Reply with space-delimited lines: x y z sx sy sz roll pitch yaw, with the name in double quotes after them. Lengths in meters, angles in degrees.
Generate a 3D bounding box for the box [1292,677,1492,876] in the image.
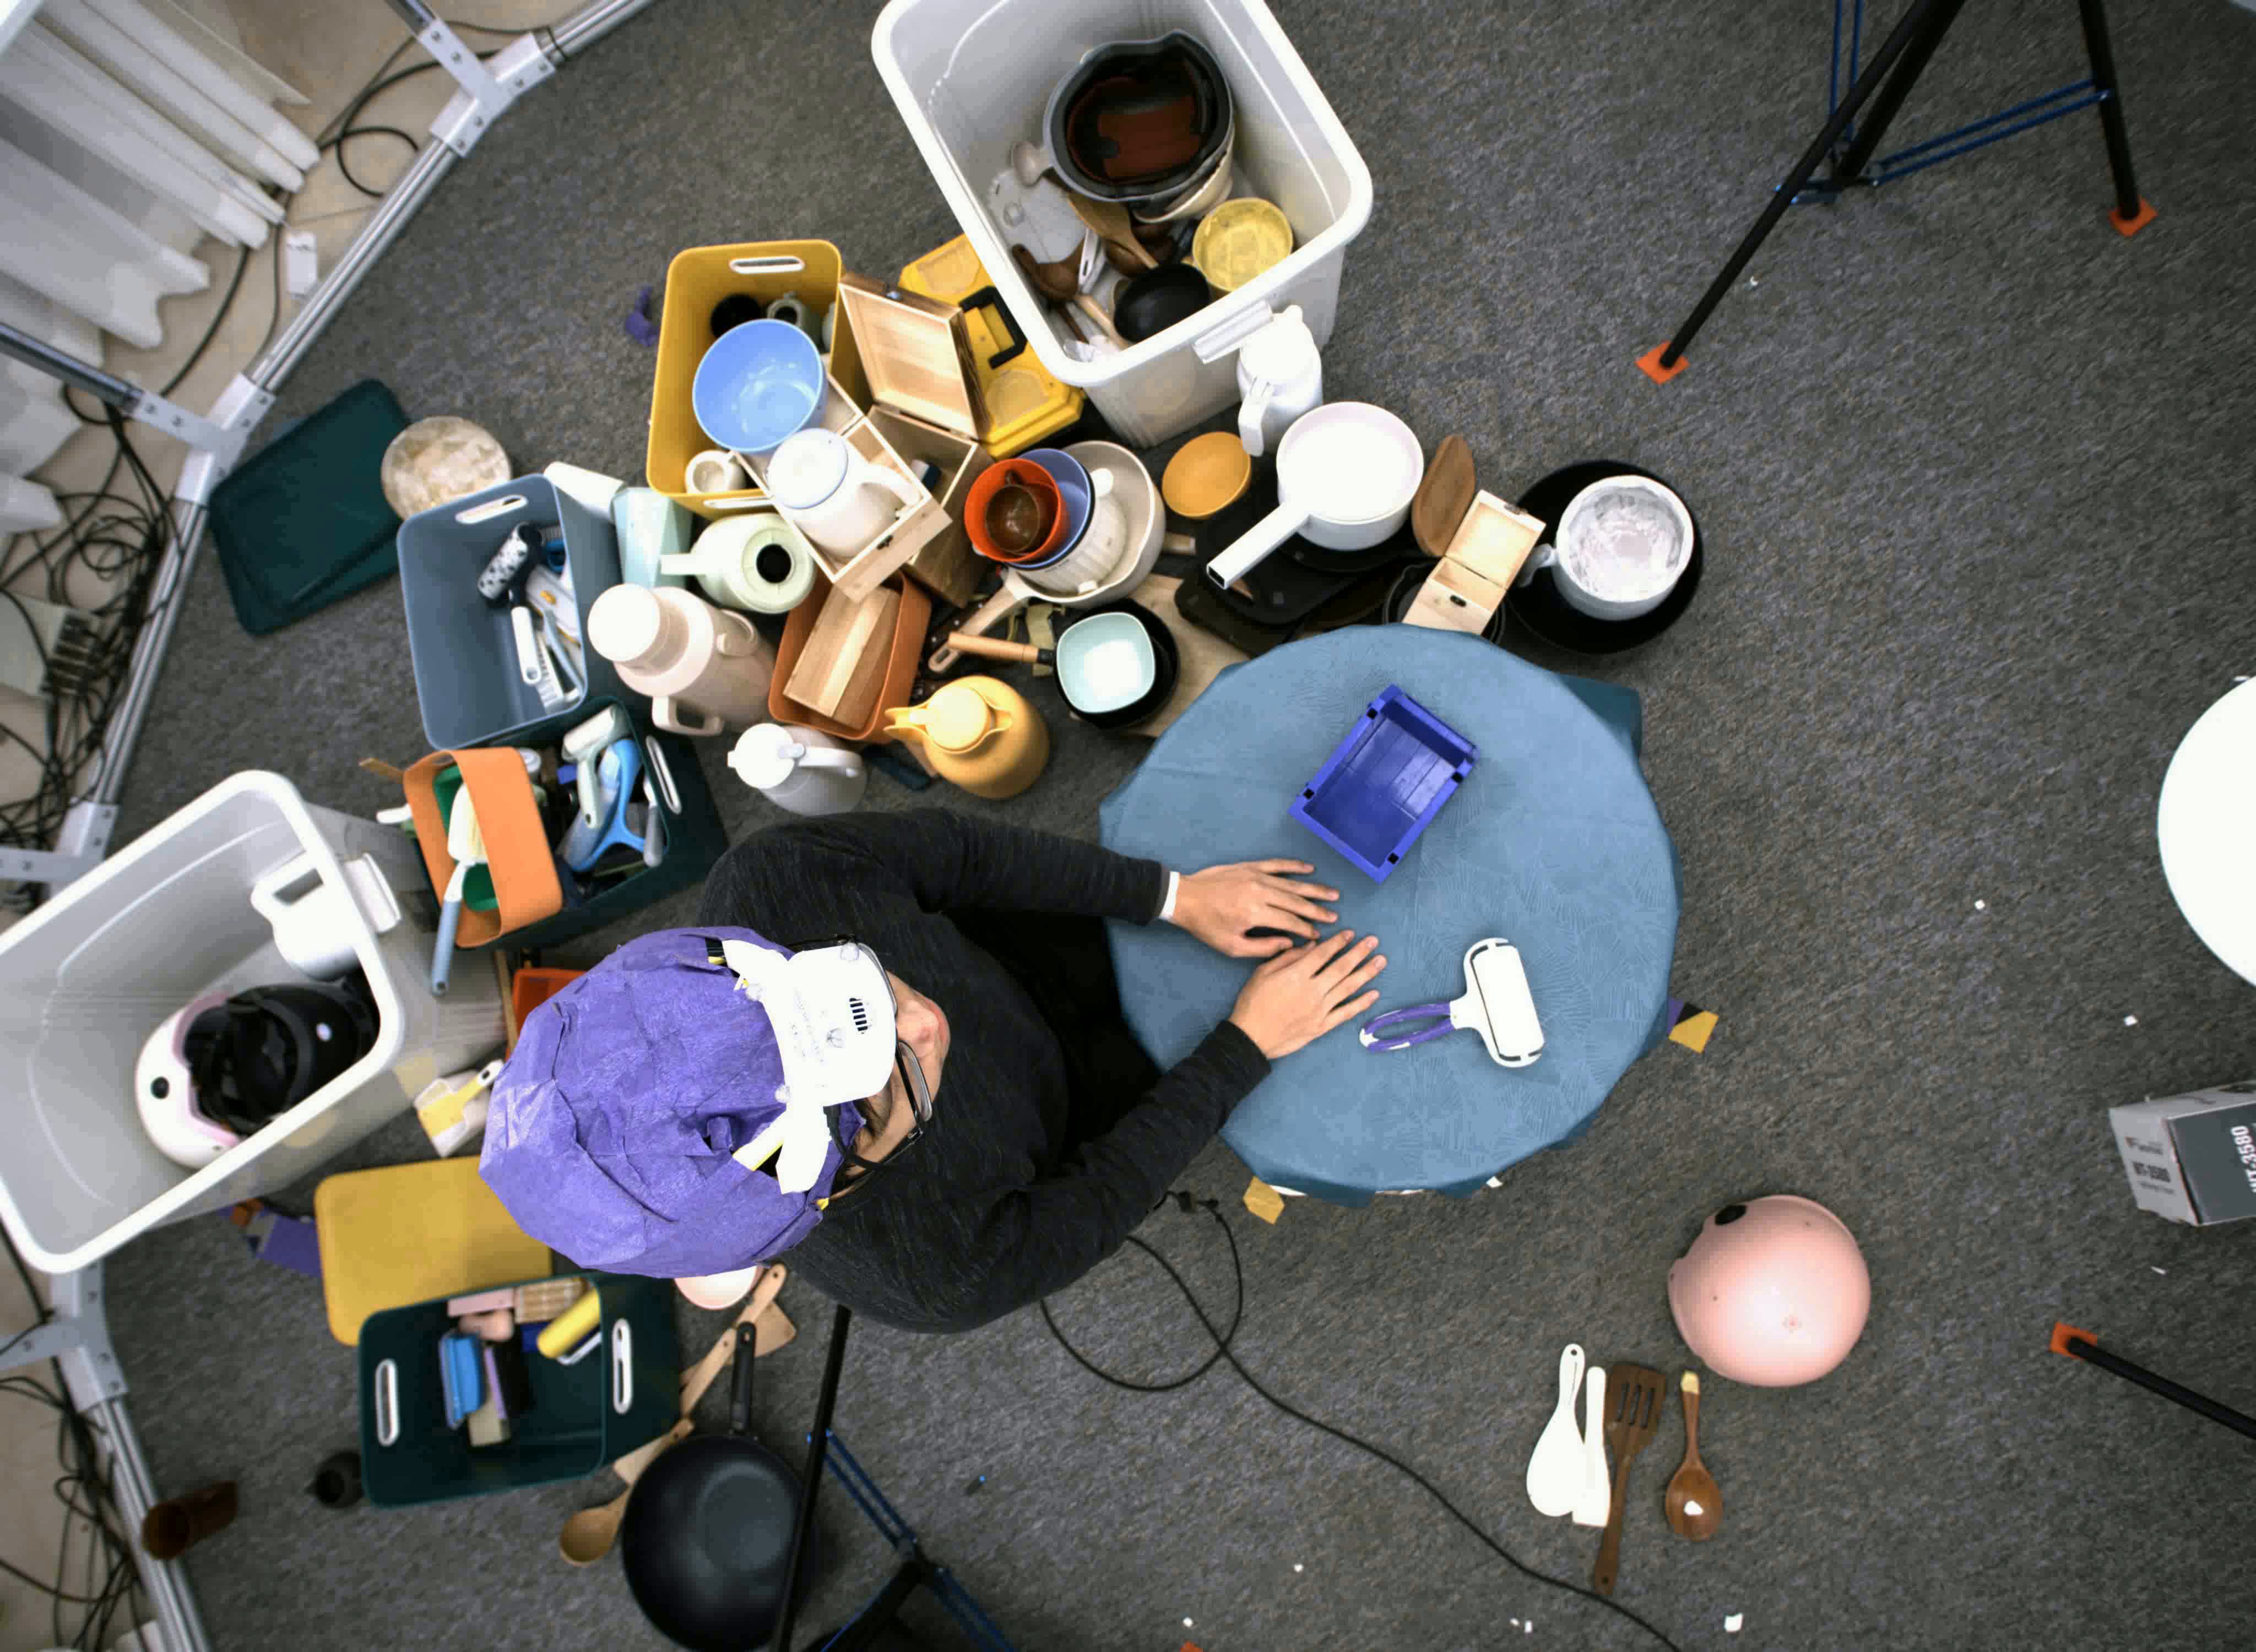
0.273 -0.055 1.425 0.124 0.082 0.180 40 97 11 "box"

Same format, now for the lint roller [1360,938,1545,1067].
0.326 0.193 1.419 0.181 0.050 0.132 -14 85 8 "lint roller"
